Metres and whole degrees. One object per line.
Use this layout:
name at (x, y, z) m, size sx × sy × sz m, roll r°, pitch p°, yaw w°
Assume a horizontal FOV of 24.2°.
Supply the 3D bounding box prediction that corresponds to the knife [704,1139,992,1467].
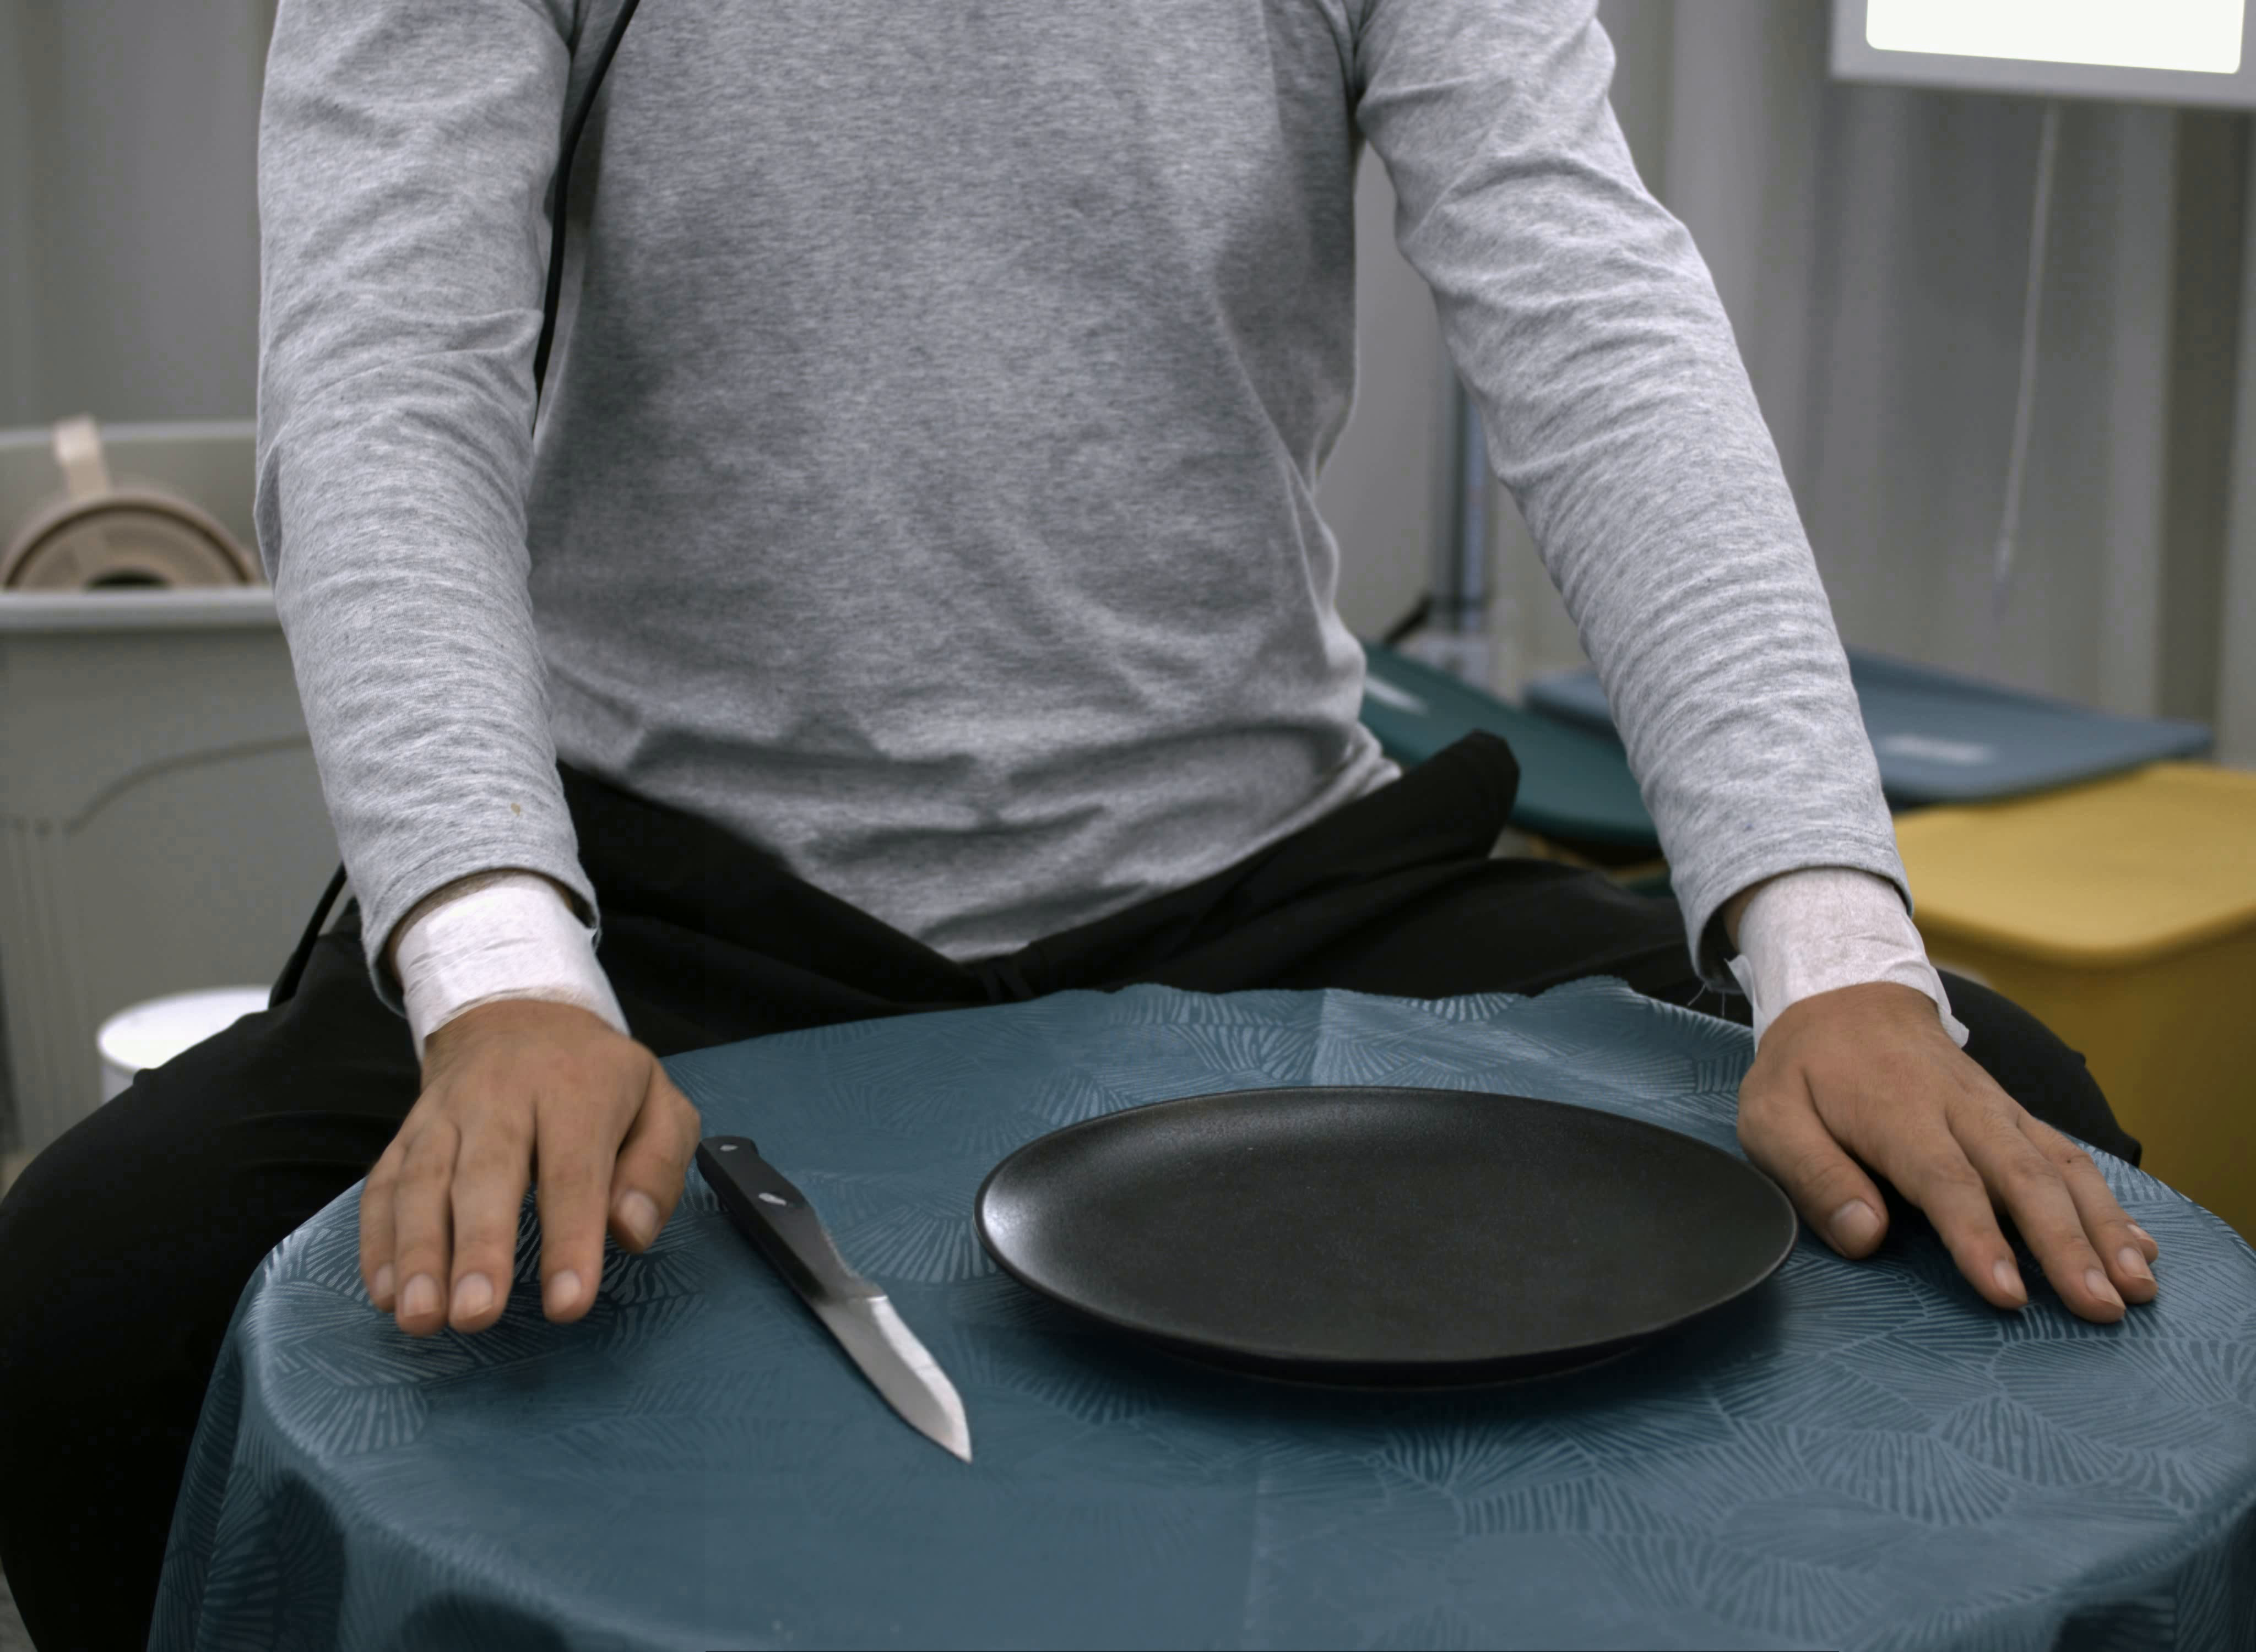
knife at (-0.082, 0.137, 1.513) m, size 0.024 × 0.016 × 0.235 m, roll -9°, pitch 20°, yaw -19°

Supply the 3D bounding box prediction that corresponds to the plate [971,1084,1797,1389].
plate at (0.075, 0.123, 1.548) m, size 0.243 × 0.023 × 0.243 m, roll 1°, pitch 15°, yaw 0°
